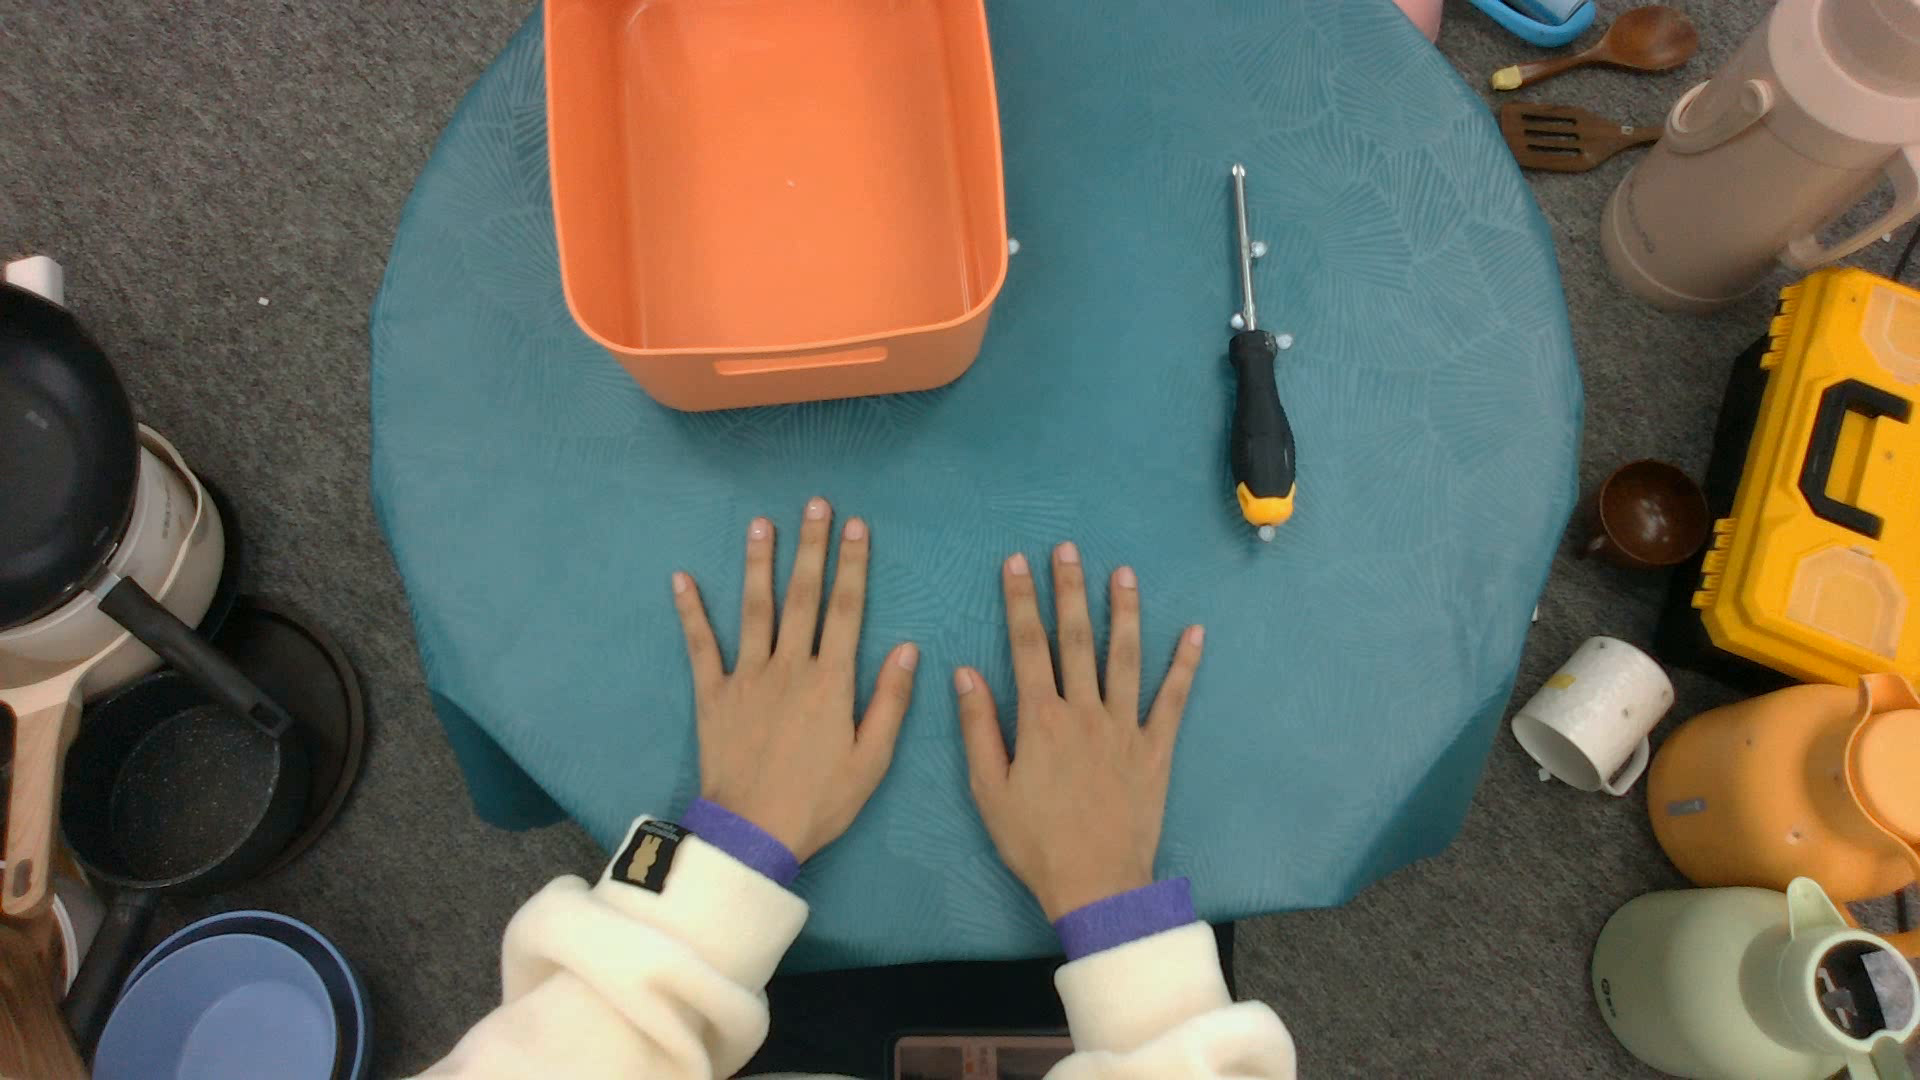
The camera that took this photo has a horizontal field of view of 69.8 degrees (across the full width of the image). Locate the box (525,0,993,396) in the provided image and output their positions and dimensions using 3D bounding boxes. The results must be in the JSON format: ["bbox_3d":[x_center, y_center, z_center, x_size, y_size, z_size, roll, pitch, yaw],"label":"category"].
[{"bbox_3d":[-0.095,-0.204,0.661,0.199,0.102,0.274,-6,74,-4],"label":"box"}]

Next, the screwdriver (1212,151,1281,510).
[{"bbox_3d":[0.140,-0.108,0.684,0.031,0.031,0.197,2,70,-1],"label":"screwdriver"}]
